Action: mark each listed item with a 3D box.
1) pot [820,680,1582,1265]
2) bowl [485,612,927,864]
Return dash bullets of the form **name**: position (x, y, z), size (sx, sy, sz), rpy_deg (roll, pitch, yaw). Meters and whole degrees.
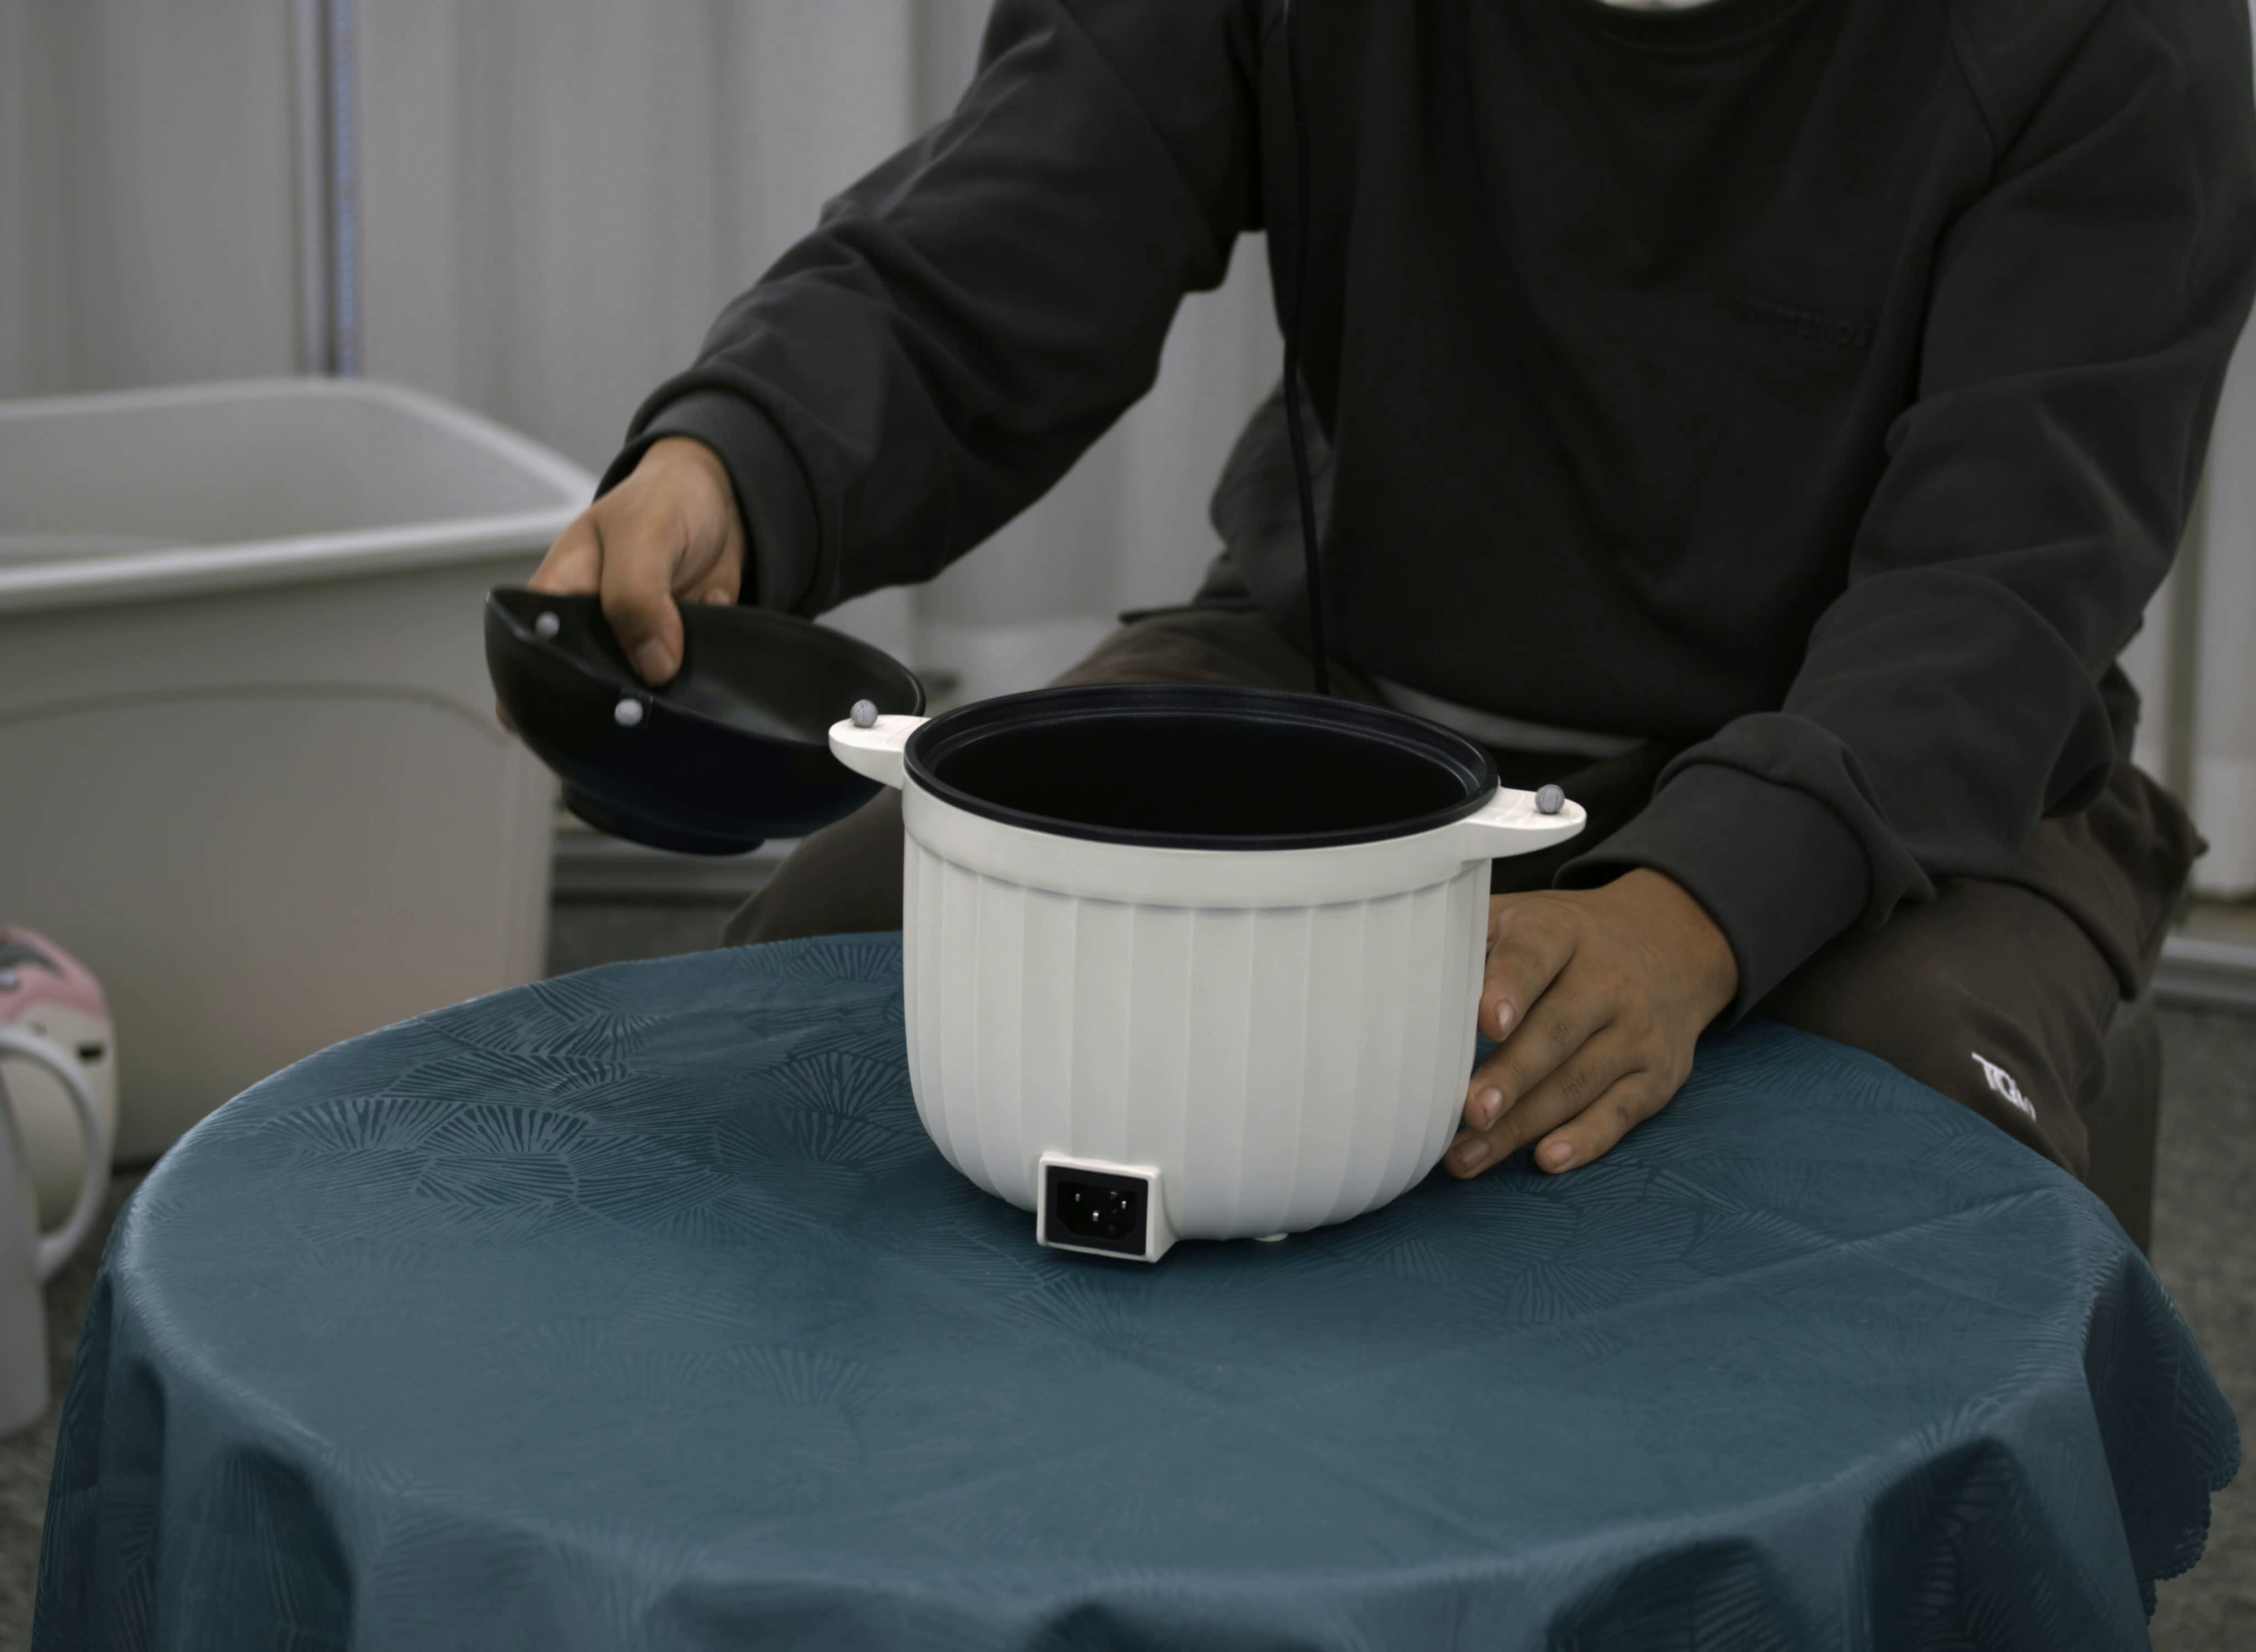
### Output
- **pot**: position (0.019, 0.041, 1.622), size (0.238, 0.144, 0.190), rpy_deg (8, 20, 16)
- **bowl**: position (-0.143, -0.028, 1.700), size (0.138, 0.067, 0.168), rpy_deg (2, 17, -35)
